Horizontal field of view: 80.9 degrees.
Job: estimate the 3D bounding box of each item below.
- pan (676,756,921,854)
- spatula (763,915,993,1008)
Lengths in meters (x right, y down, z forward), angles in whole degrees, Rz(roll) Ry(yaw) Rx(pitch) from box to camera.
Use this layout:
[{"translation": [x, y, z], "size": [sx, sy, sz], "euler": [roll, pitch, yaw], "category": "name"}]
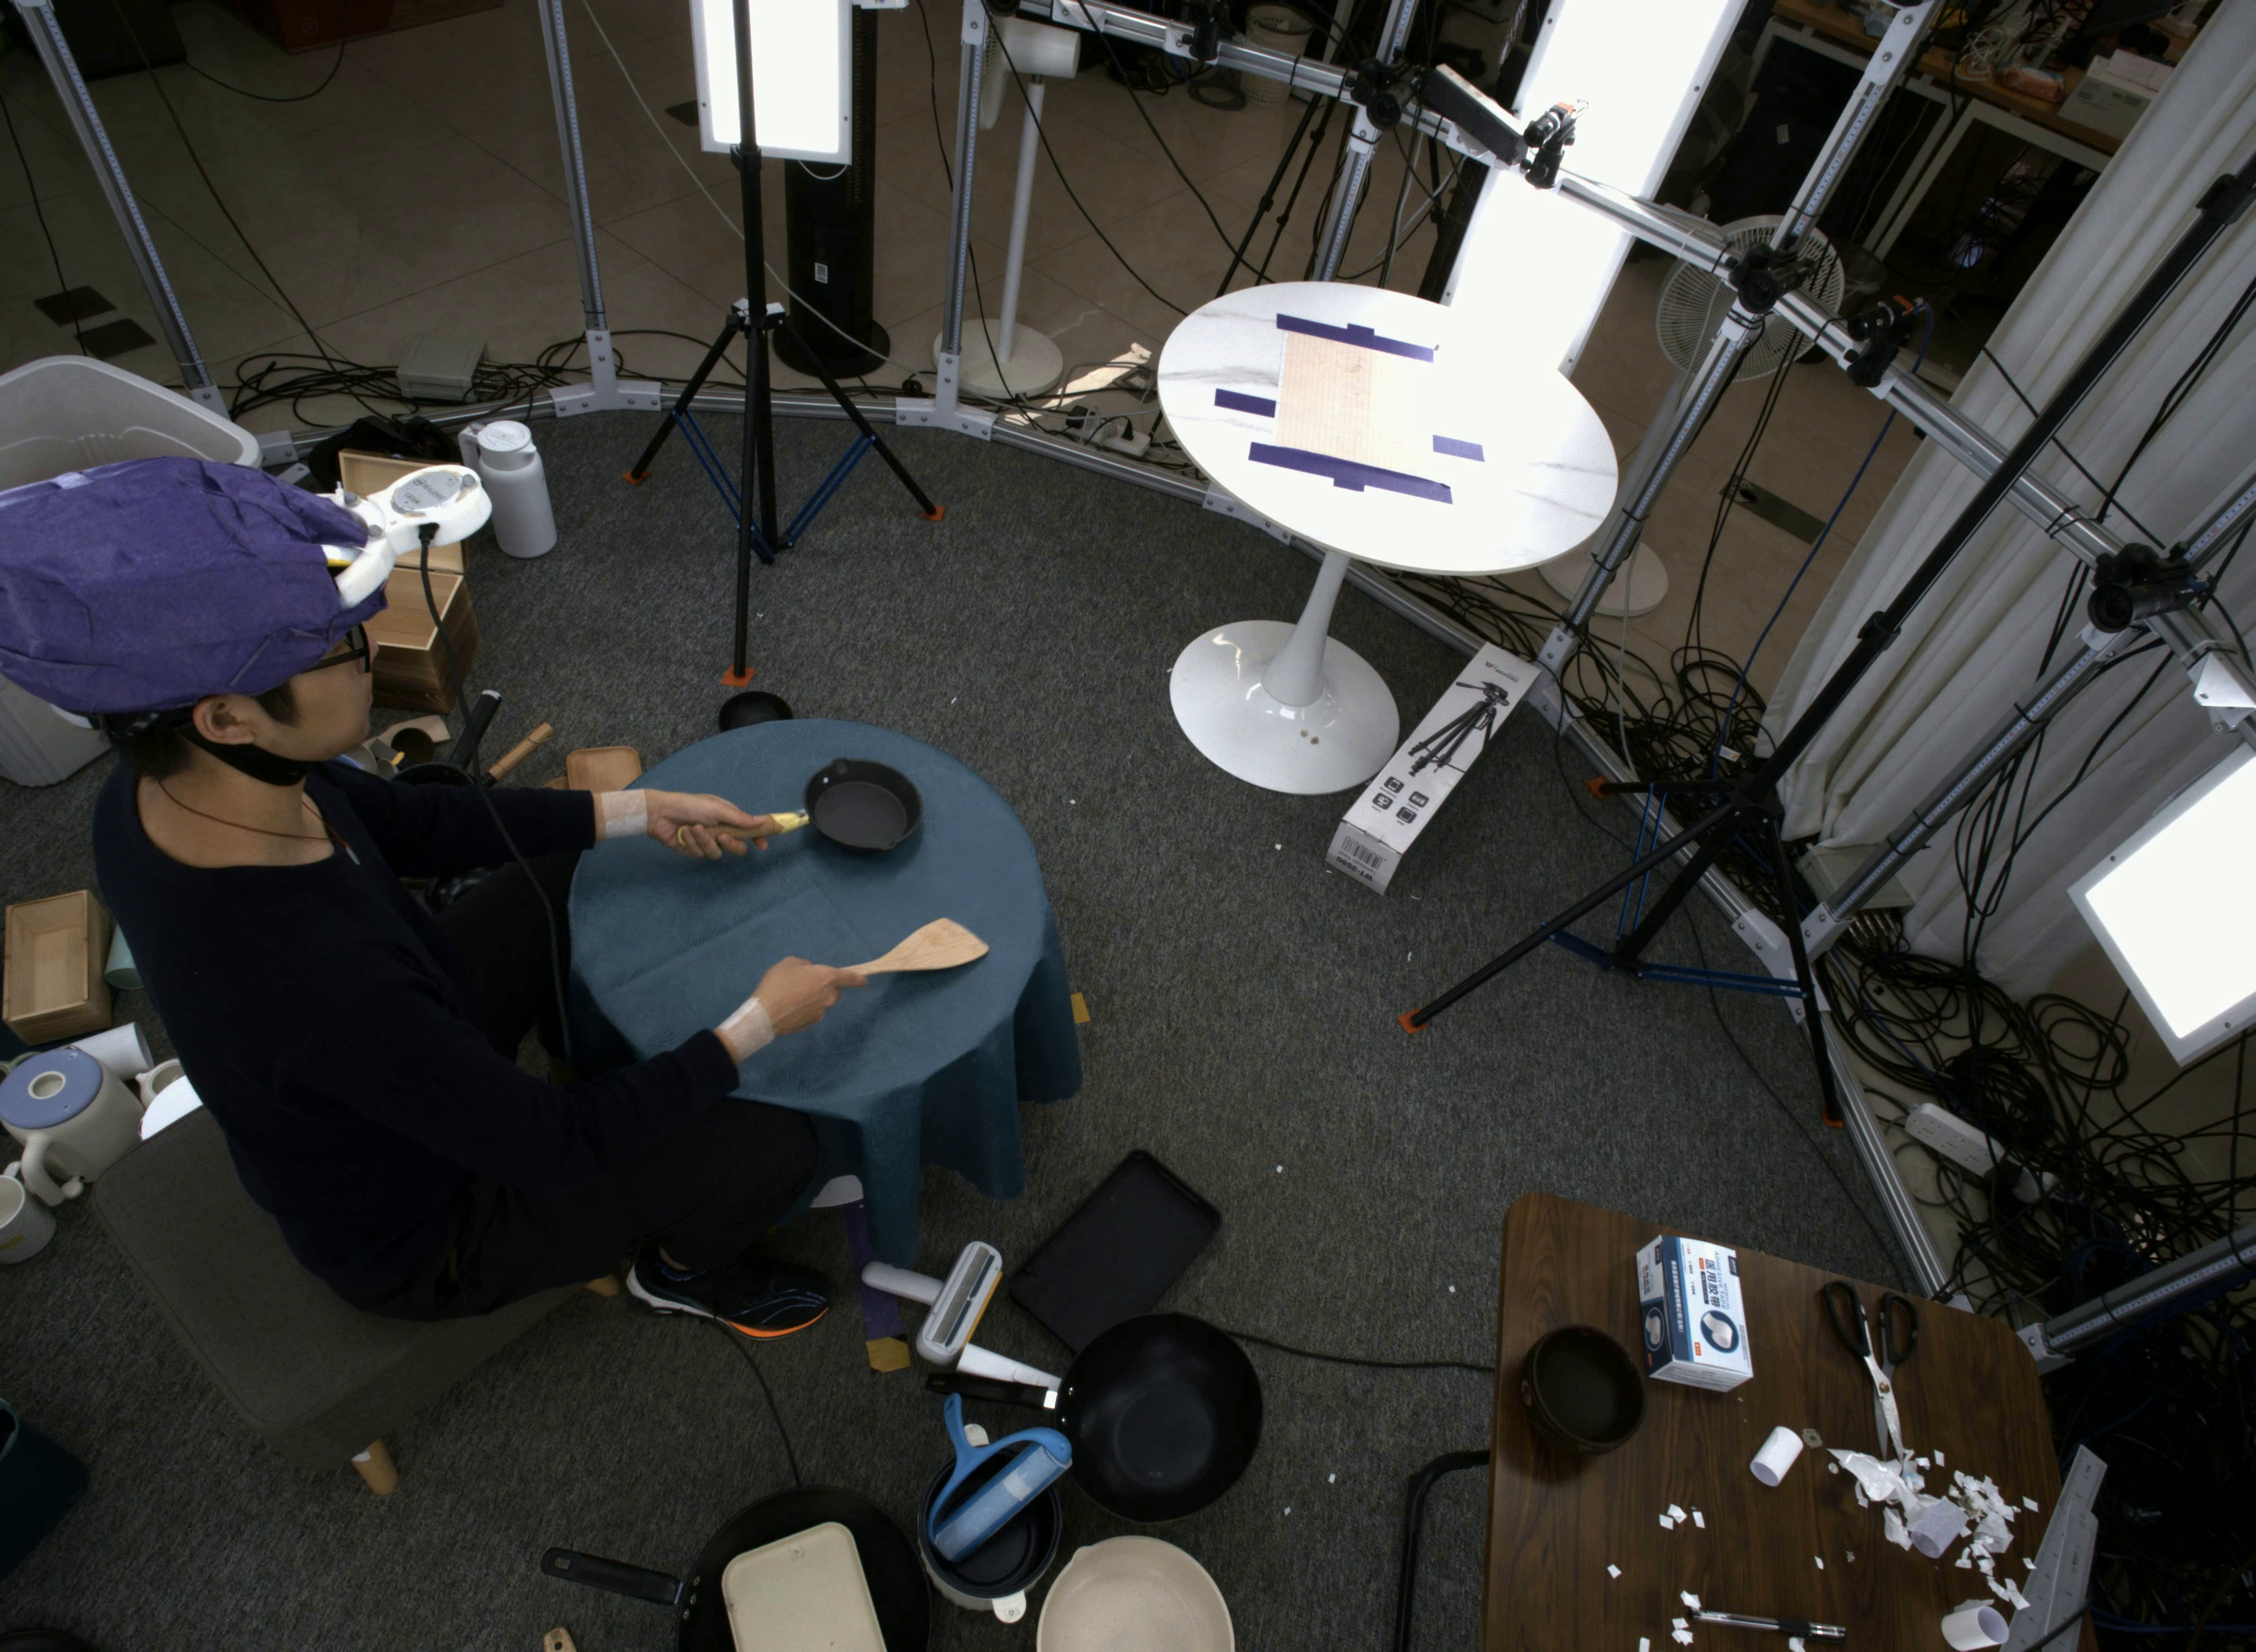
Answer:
[{"translation": [-0.423, -0.010, 1.670], "size": [0.327, 0.050, 0.164], "euler": [-13, 57, -33], "category": "pan"}, {"translation": [-0.298, 0.162, 1.550], "size": [0.078, 0.017, 0.332], "euler": [42, 31, 24], "category": "spatula"}]
